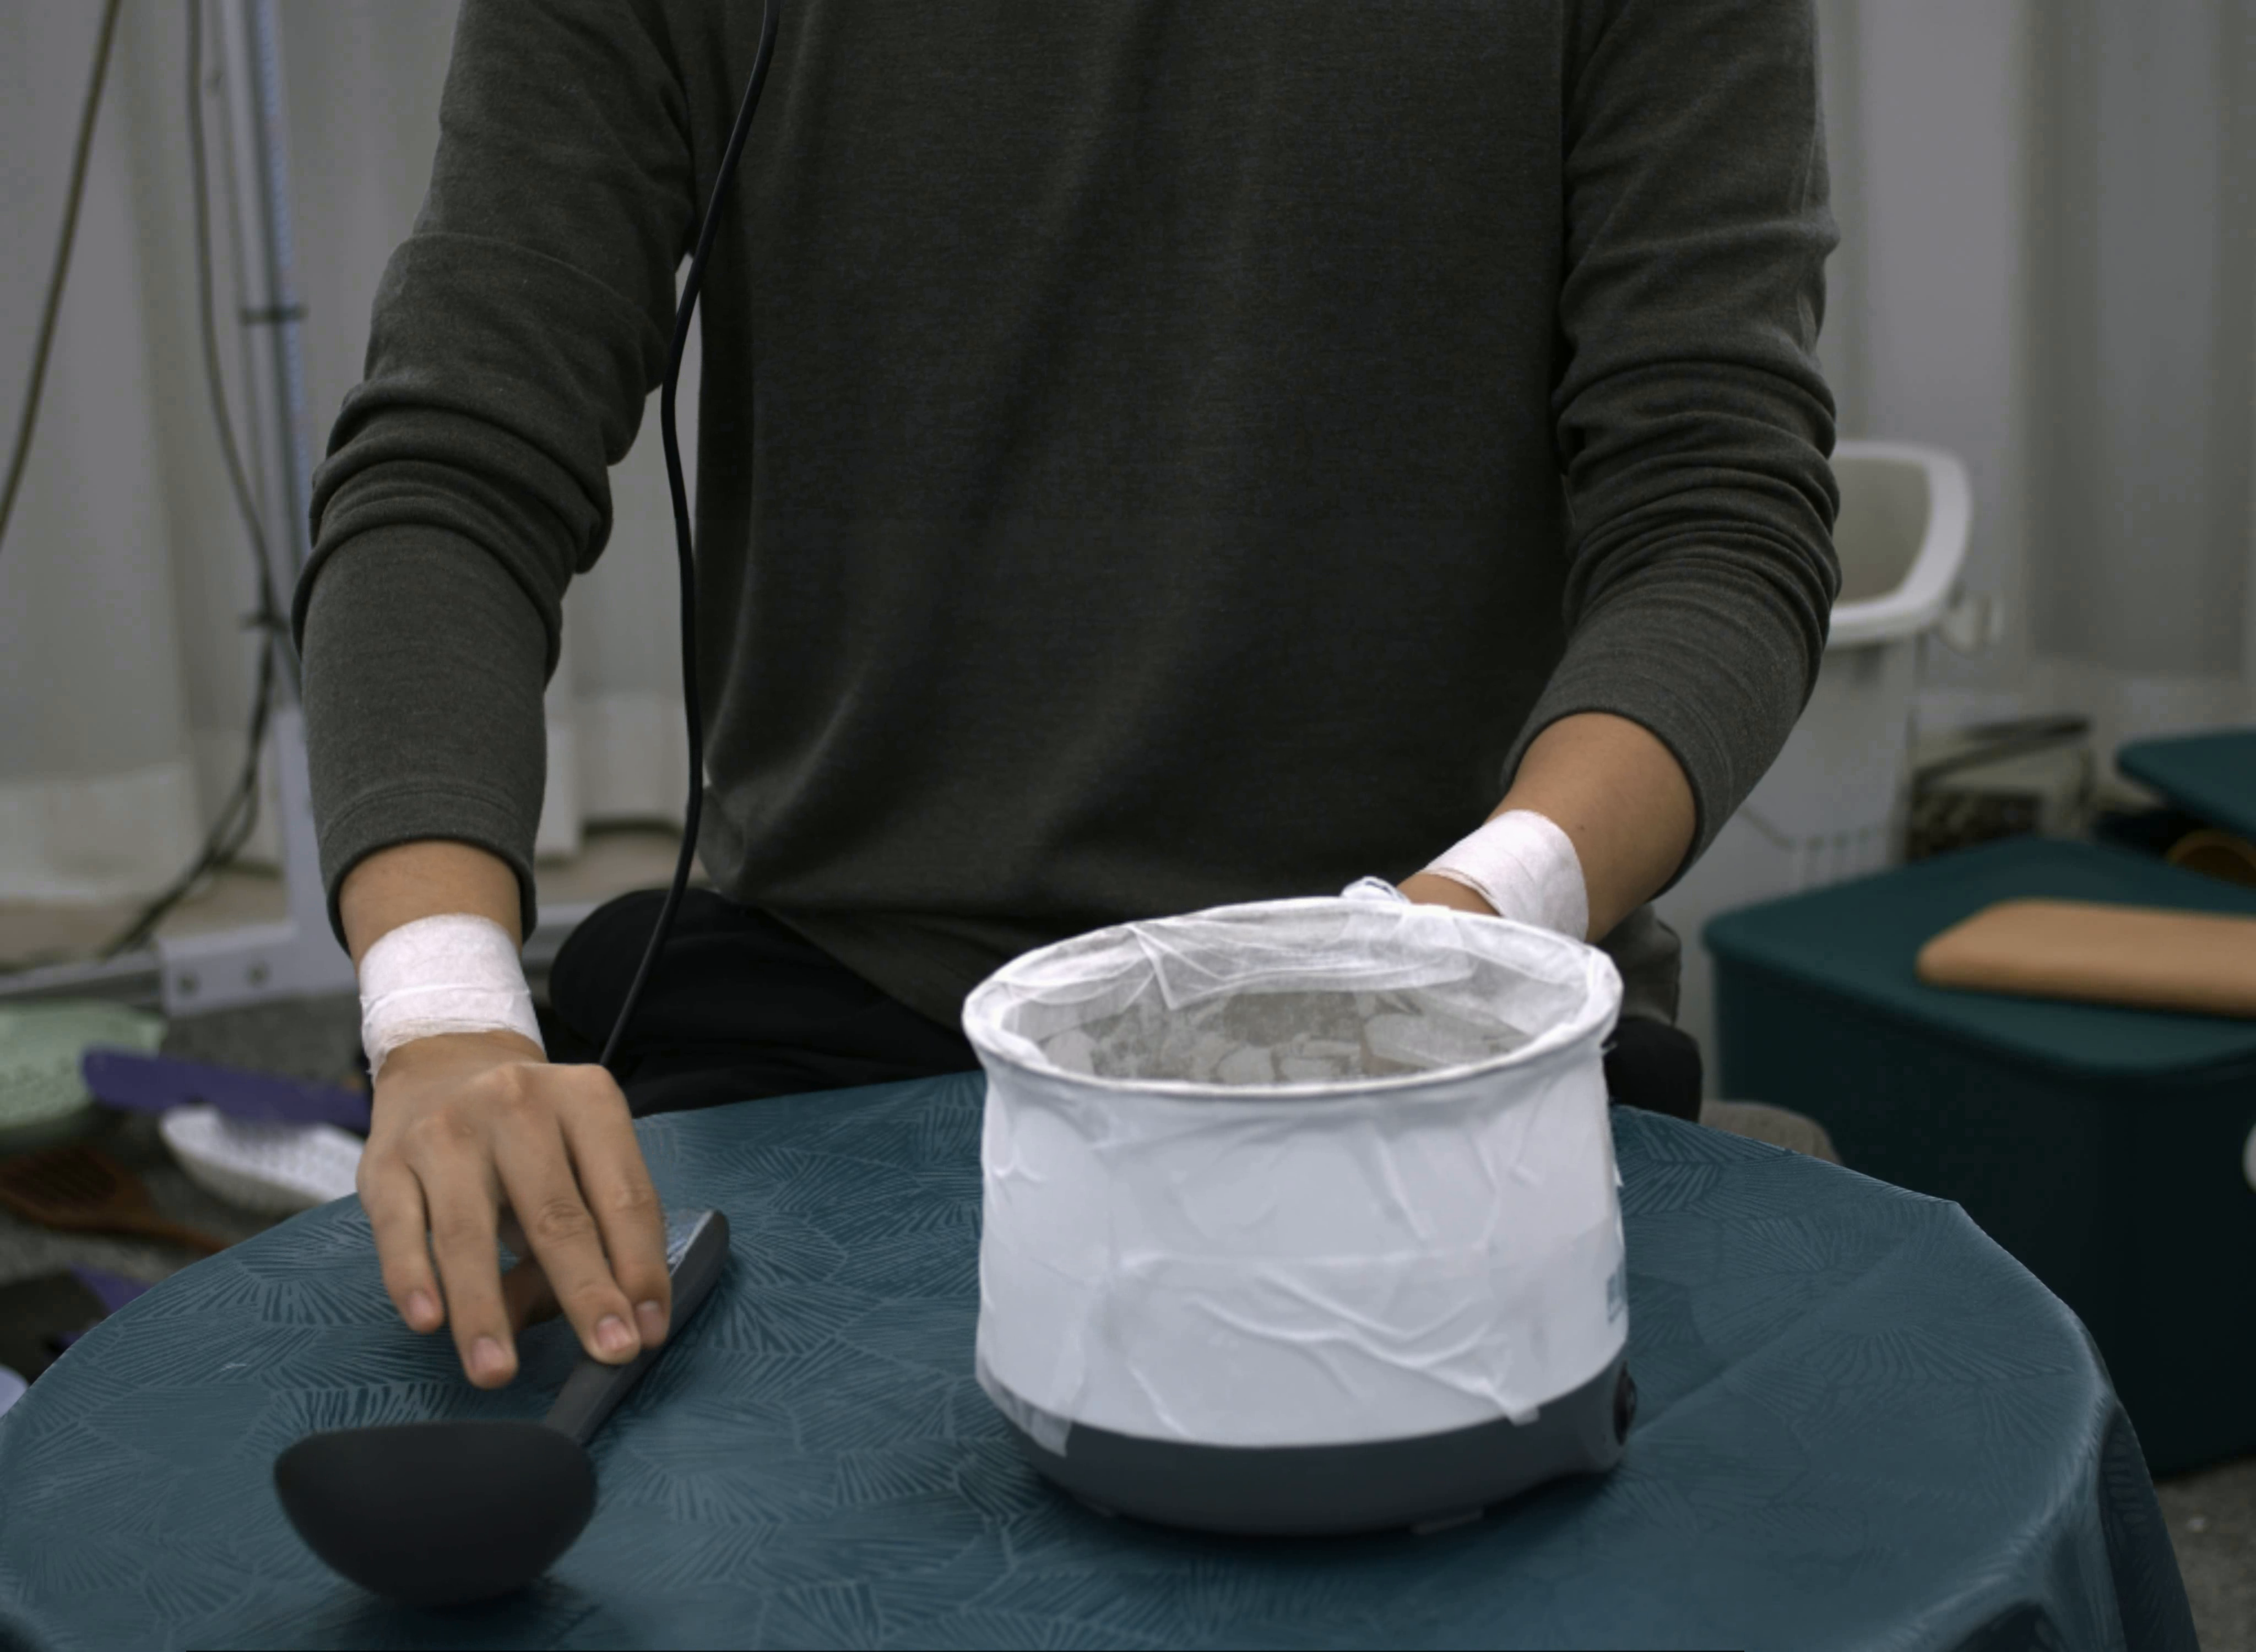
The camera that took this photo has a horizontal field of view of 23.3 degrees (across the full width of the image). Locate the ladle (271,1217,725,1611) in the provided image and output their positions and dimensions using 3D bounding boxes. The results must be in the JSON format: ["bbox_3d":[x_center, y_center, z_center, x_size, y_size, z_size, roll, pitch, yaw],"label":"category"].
[{"bbox_3d":[-0.155,0.142,1.520,0.086,0.064,0.315,2,15,9],"label":"ladle"}]

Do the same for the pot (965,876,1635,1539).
[{"bbox_3d":[0.054,0.099,1.503,0.178,0.136,0.234,1,15,14],"label":"pot"}]
